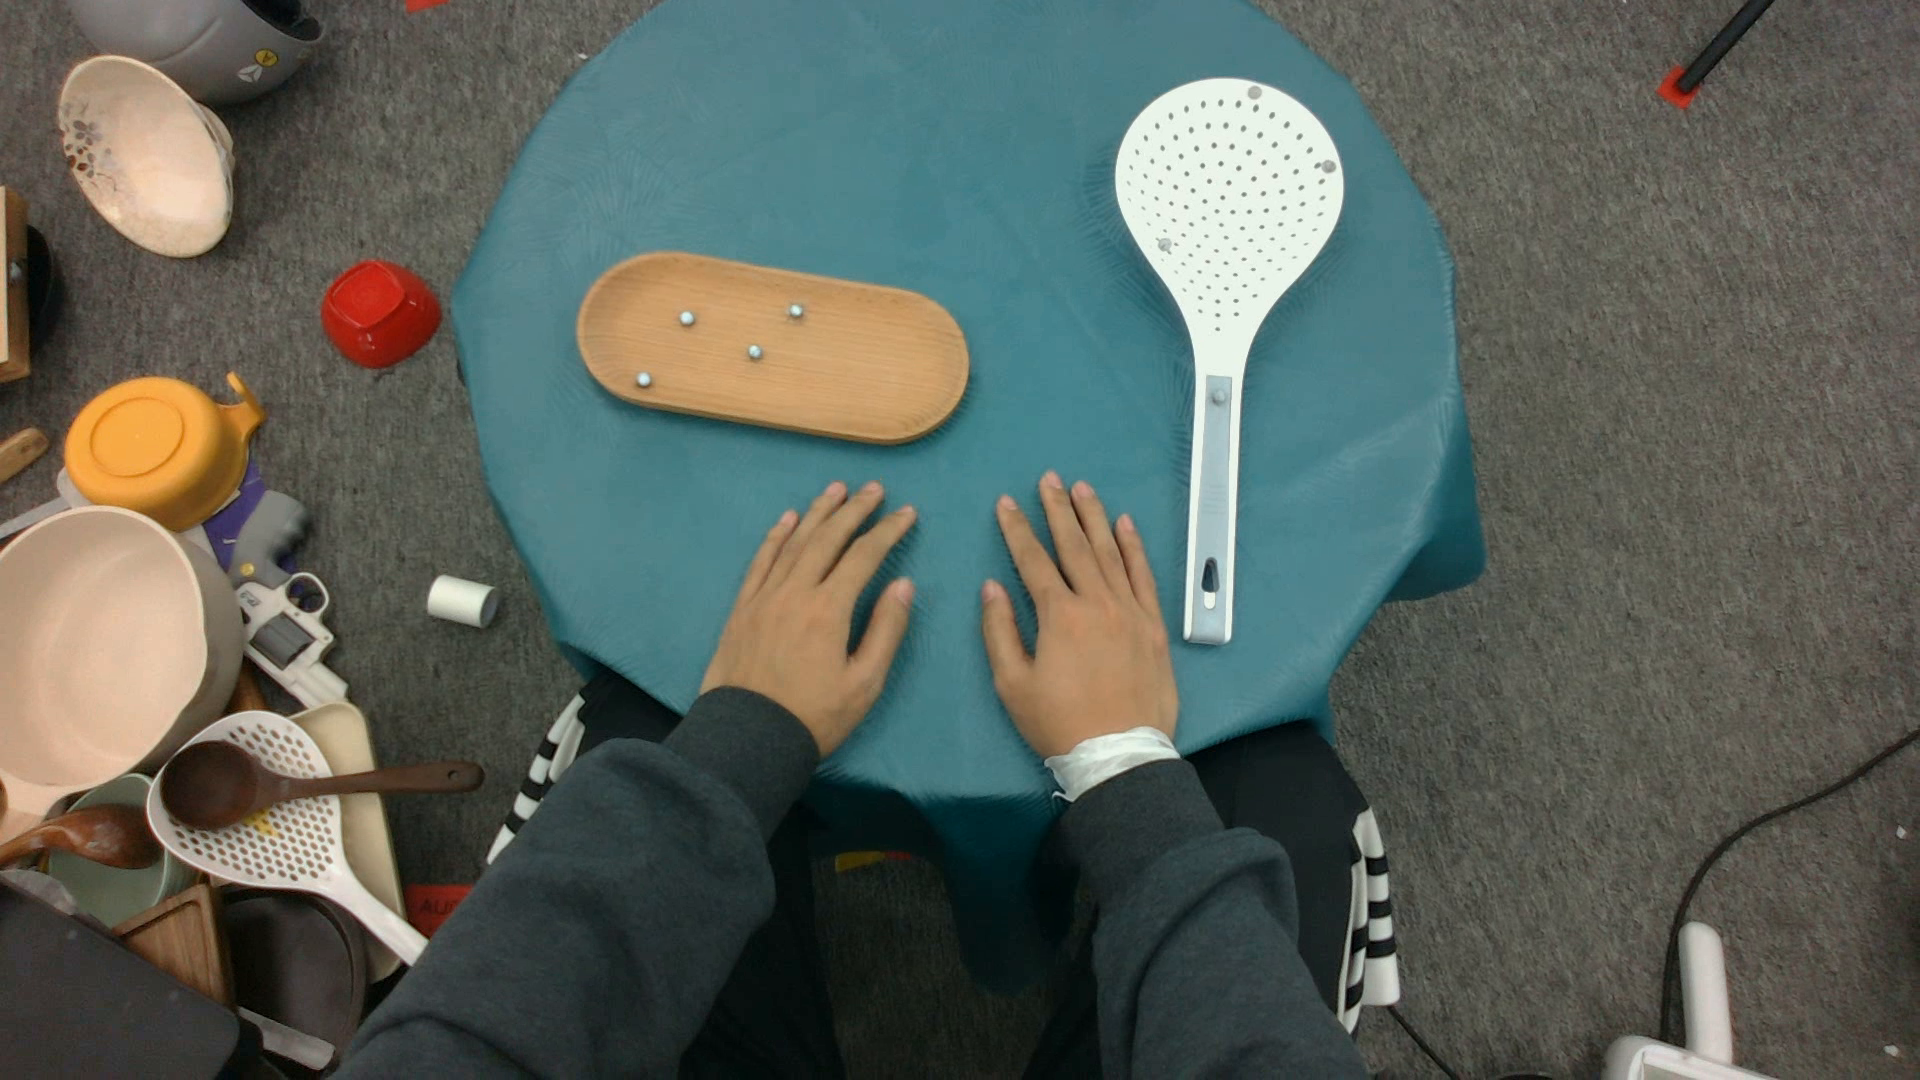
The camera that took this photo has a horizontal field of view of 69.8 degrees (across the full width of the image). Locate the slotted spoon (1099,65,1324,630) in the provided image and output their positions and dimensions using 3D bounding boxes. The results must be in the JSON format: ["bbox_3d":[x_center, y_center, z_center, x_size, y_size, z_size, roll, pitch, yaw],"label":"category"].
[{"bbox_3d":[0.143,-0.120,0.811,0.136,0.045,0.351,5,71,0],"label":"slotted spoon"}]

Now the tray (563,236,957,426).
[{"bbox_3d":[-0.117,-0.123,0.811,0.231,0.020,0.102,8,71,-2],"label":"tray"}]
